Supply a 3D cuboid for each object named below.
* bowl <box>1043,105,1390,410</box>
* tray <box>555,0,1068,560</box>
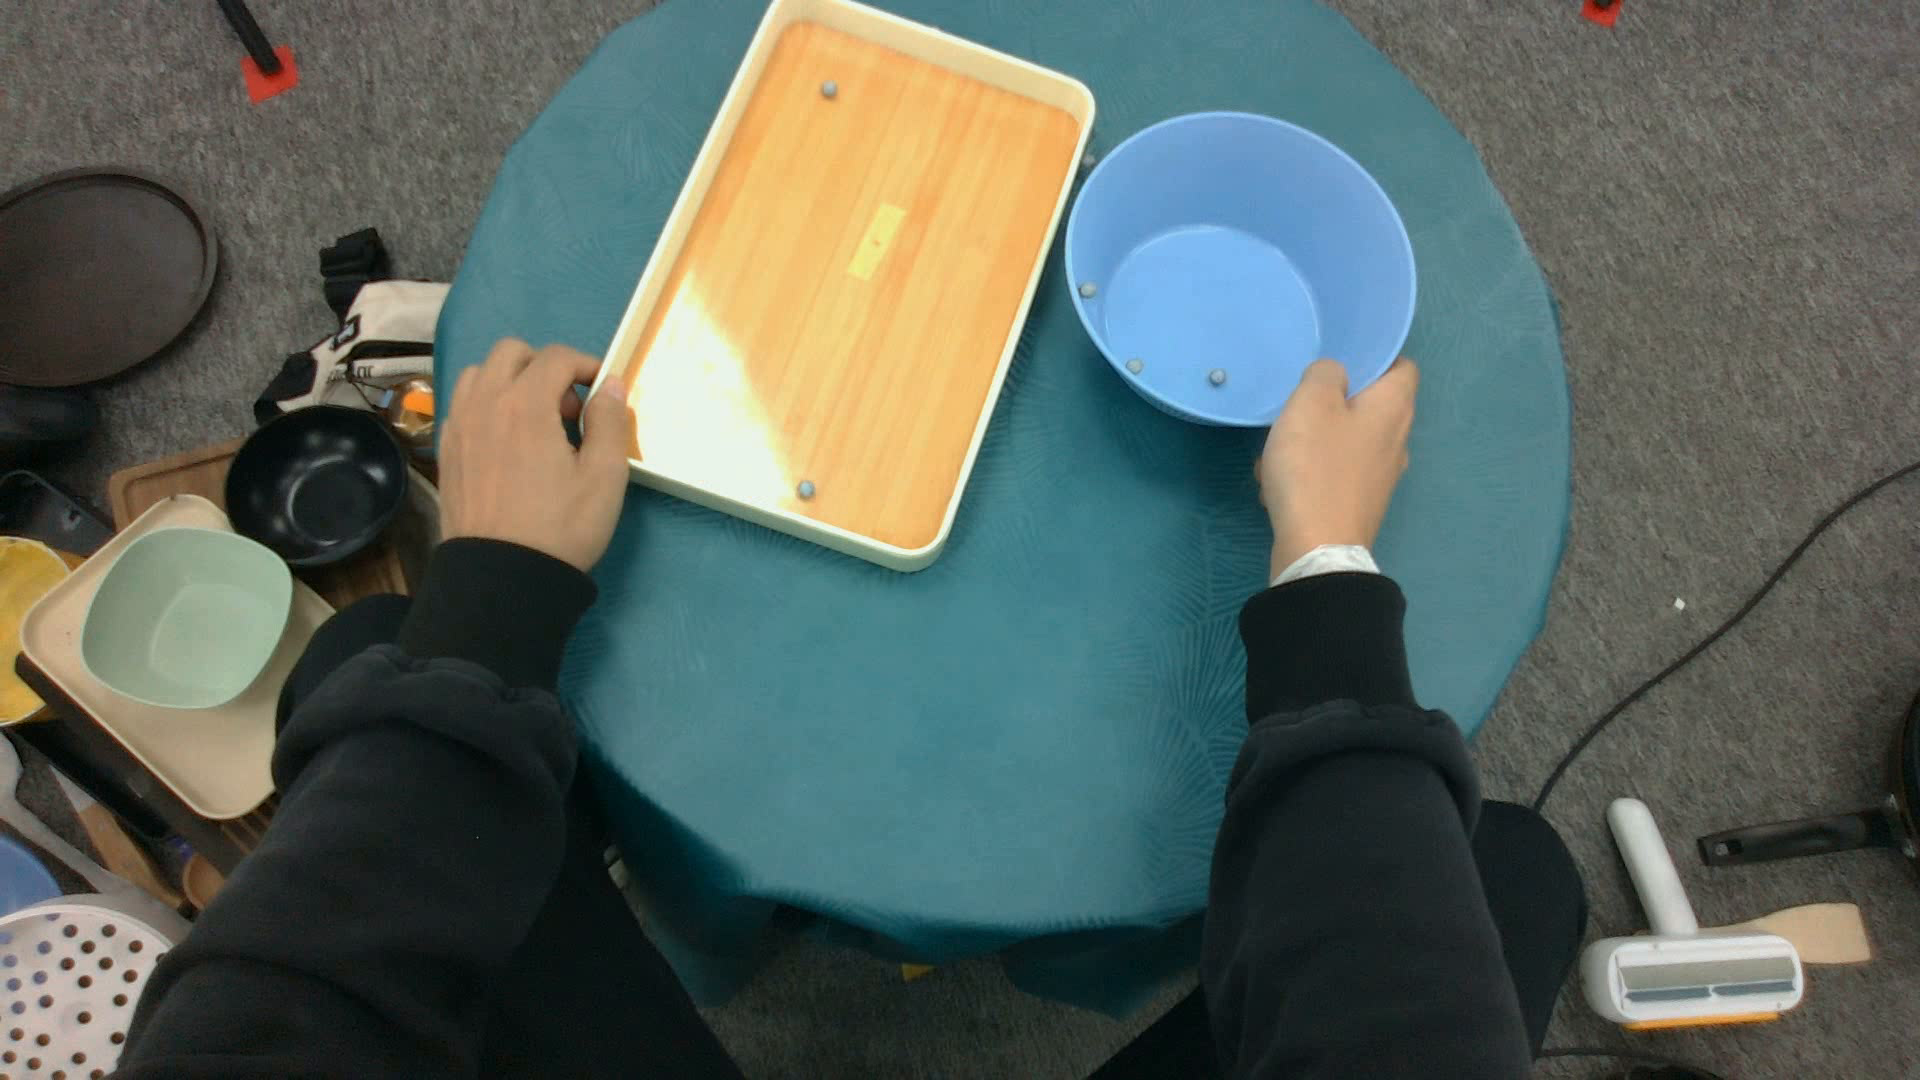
[{"bbox_3d":[0.127,-0.135,0.719,0.176,0.070,0.176,1,69,-3],"label":"bowl"},{"bbox_3d":[-0.070,-0.149,0.731,0.191,0.027,0.301,18,68,1],"label":"tray"}]
